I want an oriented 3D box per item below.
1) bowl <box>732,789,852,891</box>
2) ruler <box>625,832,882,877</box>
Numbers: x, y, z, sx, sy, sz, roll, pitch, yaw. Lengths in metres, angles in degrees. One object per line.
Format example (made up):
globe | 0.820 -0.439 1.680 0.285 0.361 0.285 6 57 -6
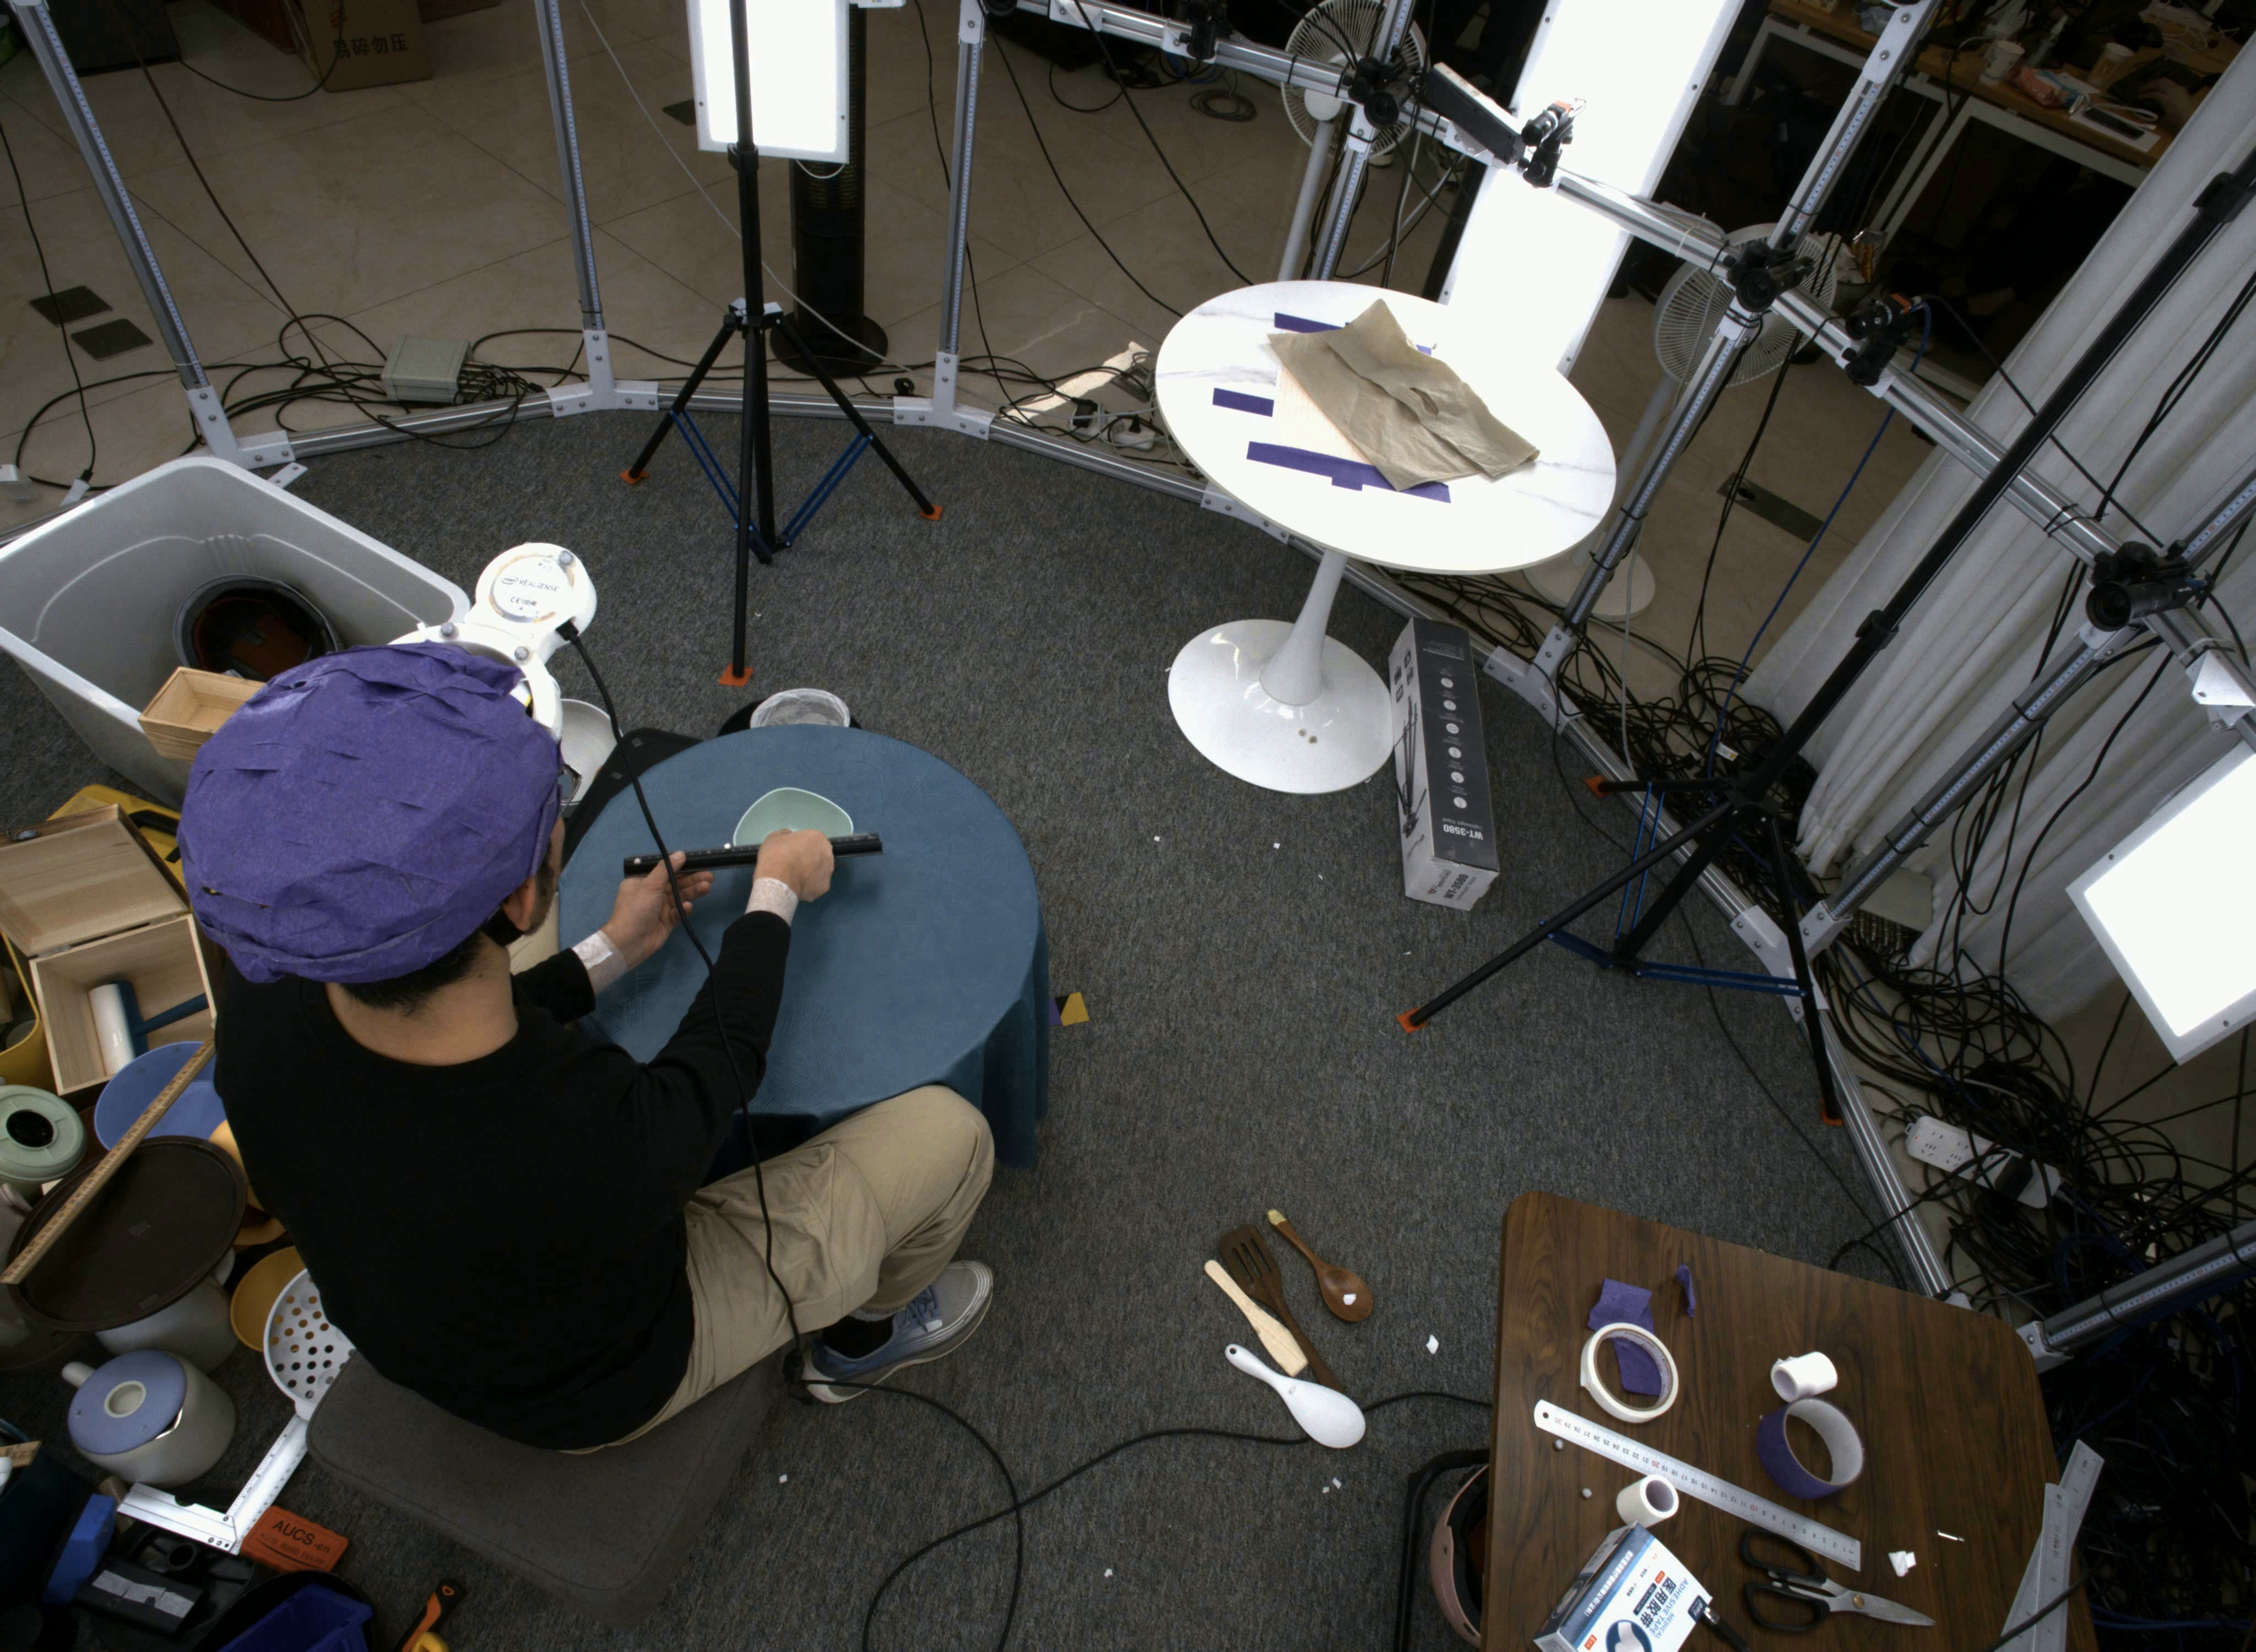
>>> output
bowl | -0.430 0.027 1.662 0.151 0.060 0.149 9 51 -10
ruler | -0.461 0.027 1.595 0.314 0.017 0.038 -5 42 -20
